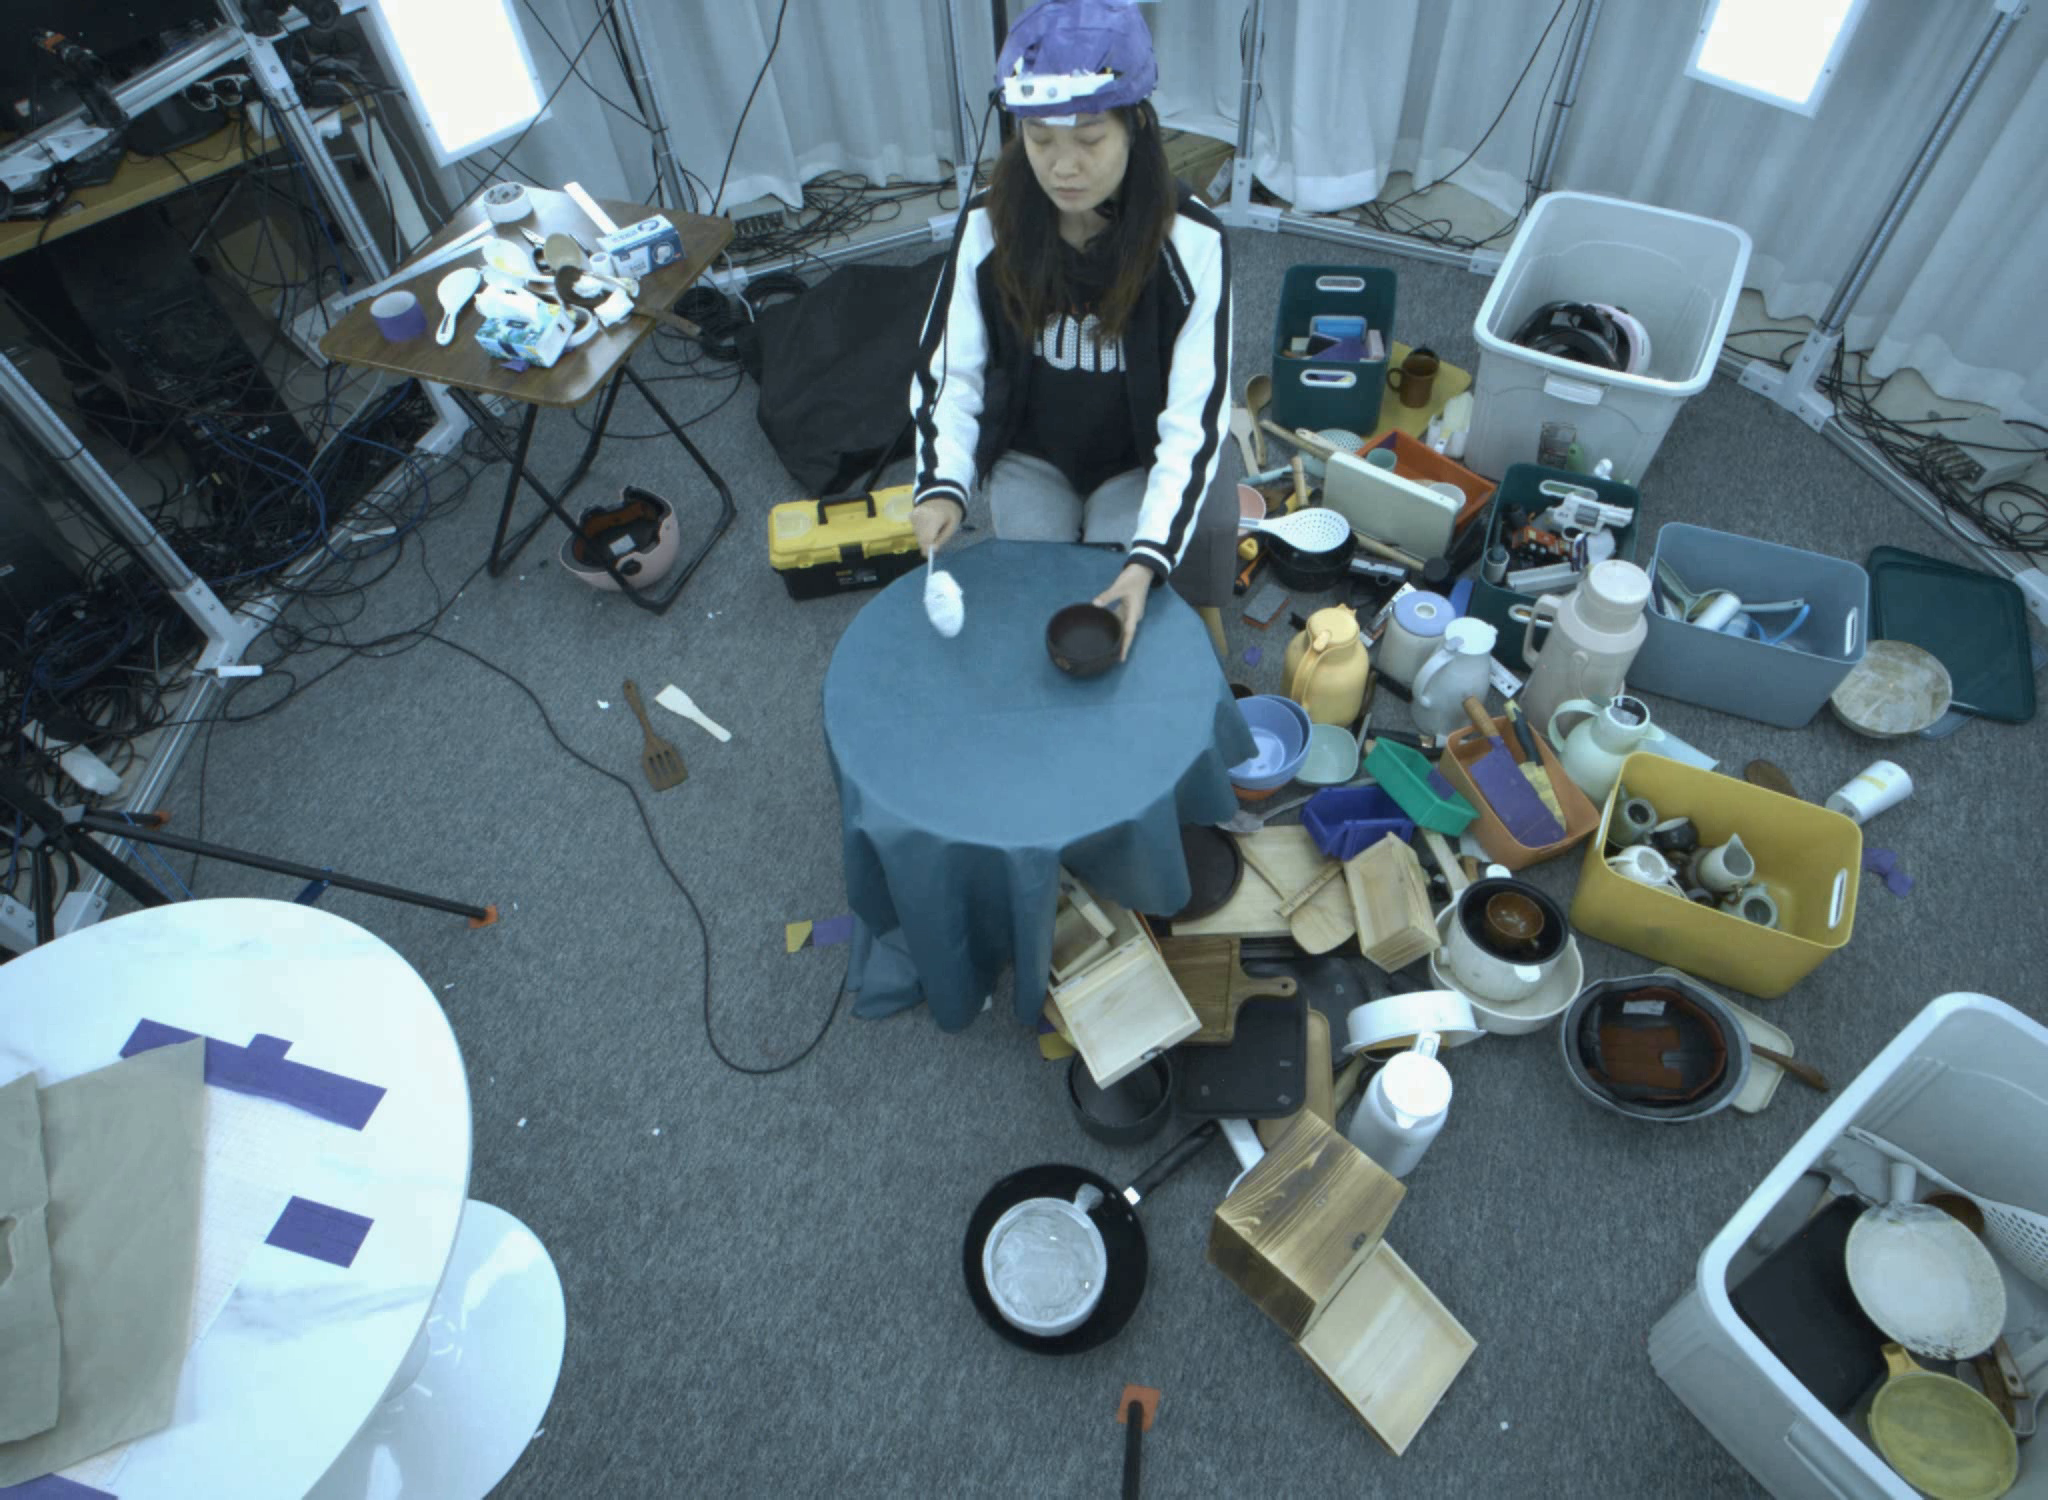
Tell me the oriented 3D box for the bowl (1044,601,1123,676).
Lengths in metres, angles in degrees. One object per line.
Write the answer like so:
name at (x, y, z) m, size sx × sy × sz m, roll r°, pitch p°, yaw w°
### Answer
bowl at (0.090, -0.160, 1.853) m, size 0.118 × 0.070 × 0.117 m, roll 0°, pitch 55°, yaw 2°

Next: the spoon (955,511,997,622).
spoon at (-0.066, -0.284, 1.818) m, size 0.059 × 0.102 × 0.274 m, roll -14°, pitch 40°, yaw 14°
